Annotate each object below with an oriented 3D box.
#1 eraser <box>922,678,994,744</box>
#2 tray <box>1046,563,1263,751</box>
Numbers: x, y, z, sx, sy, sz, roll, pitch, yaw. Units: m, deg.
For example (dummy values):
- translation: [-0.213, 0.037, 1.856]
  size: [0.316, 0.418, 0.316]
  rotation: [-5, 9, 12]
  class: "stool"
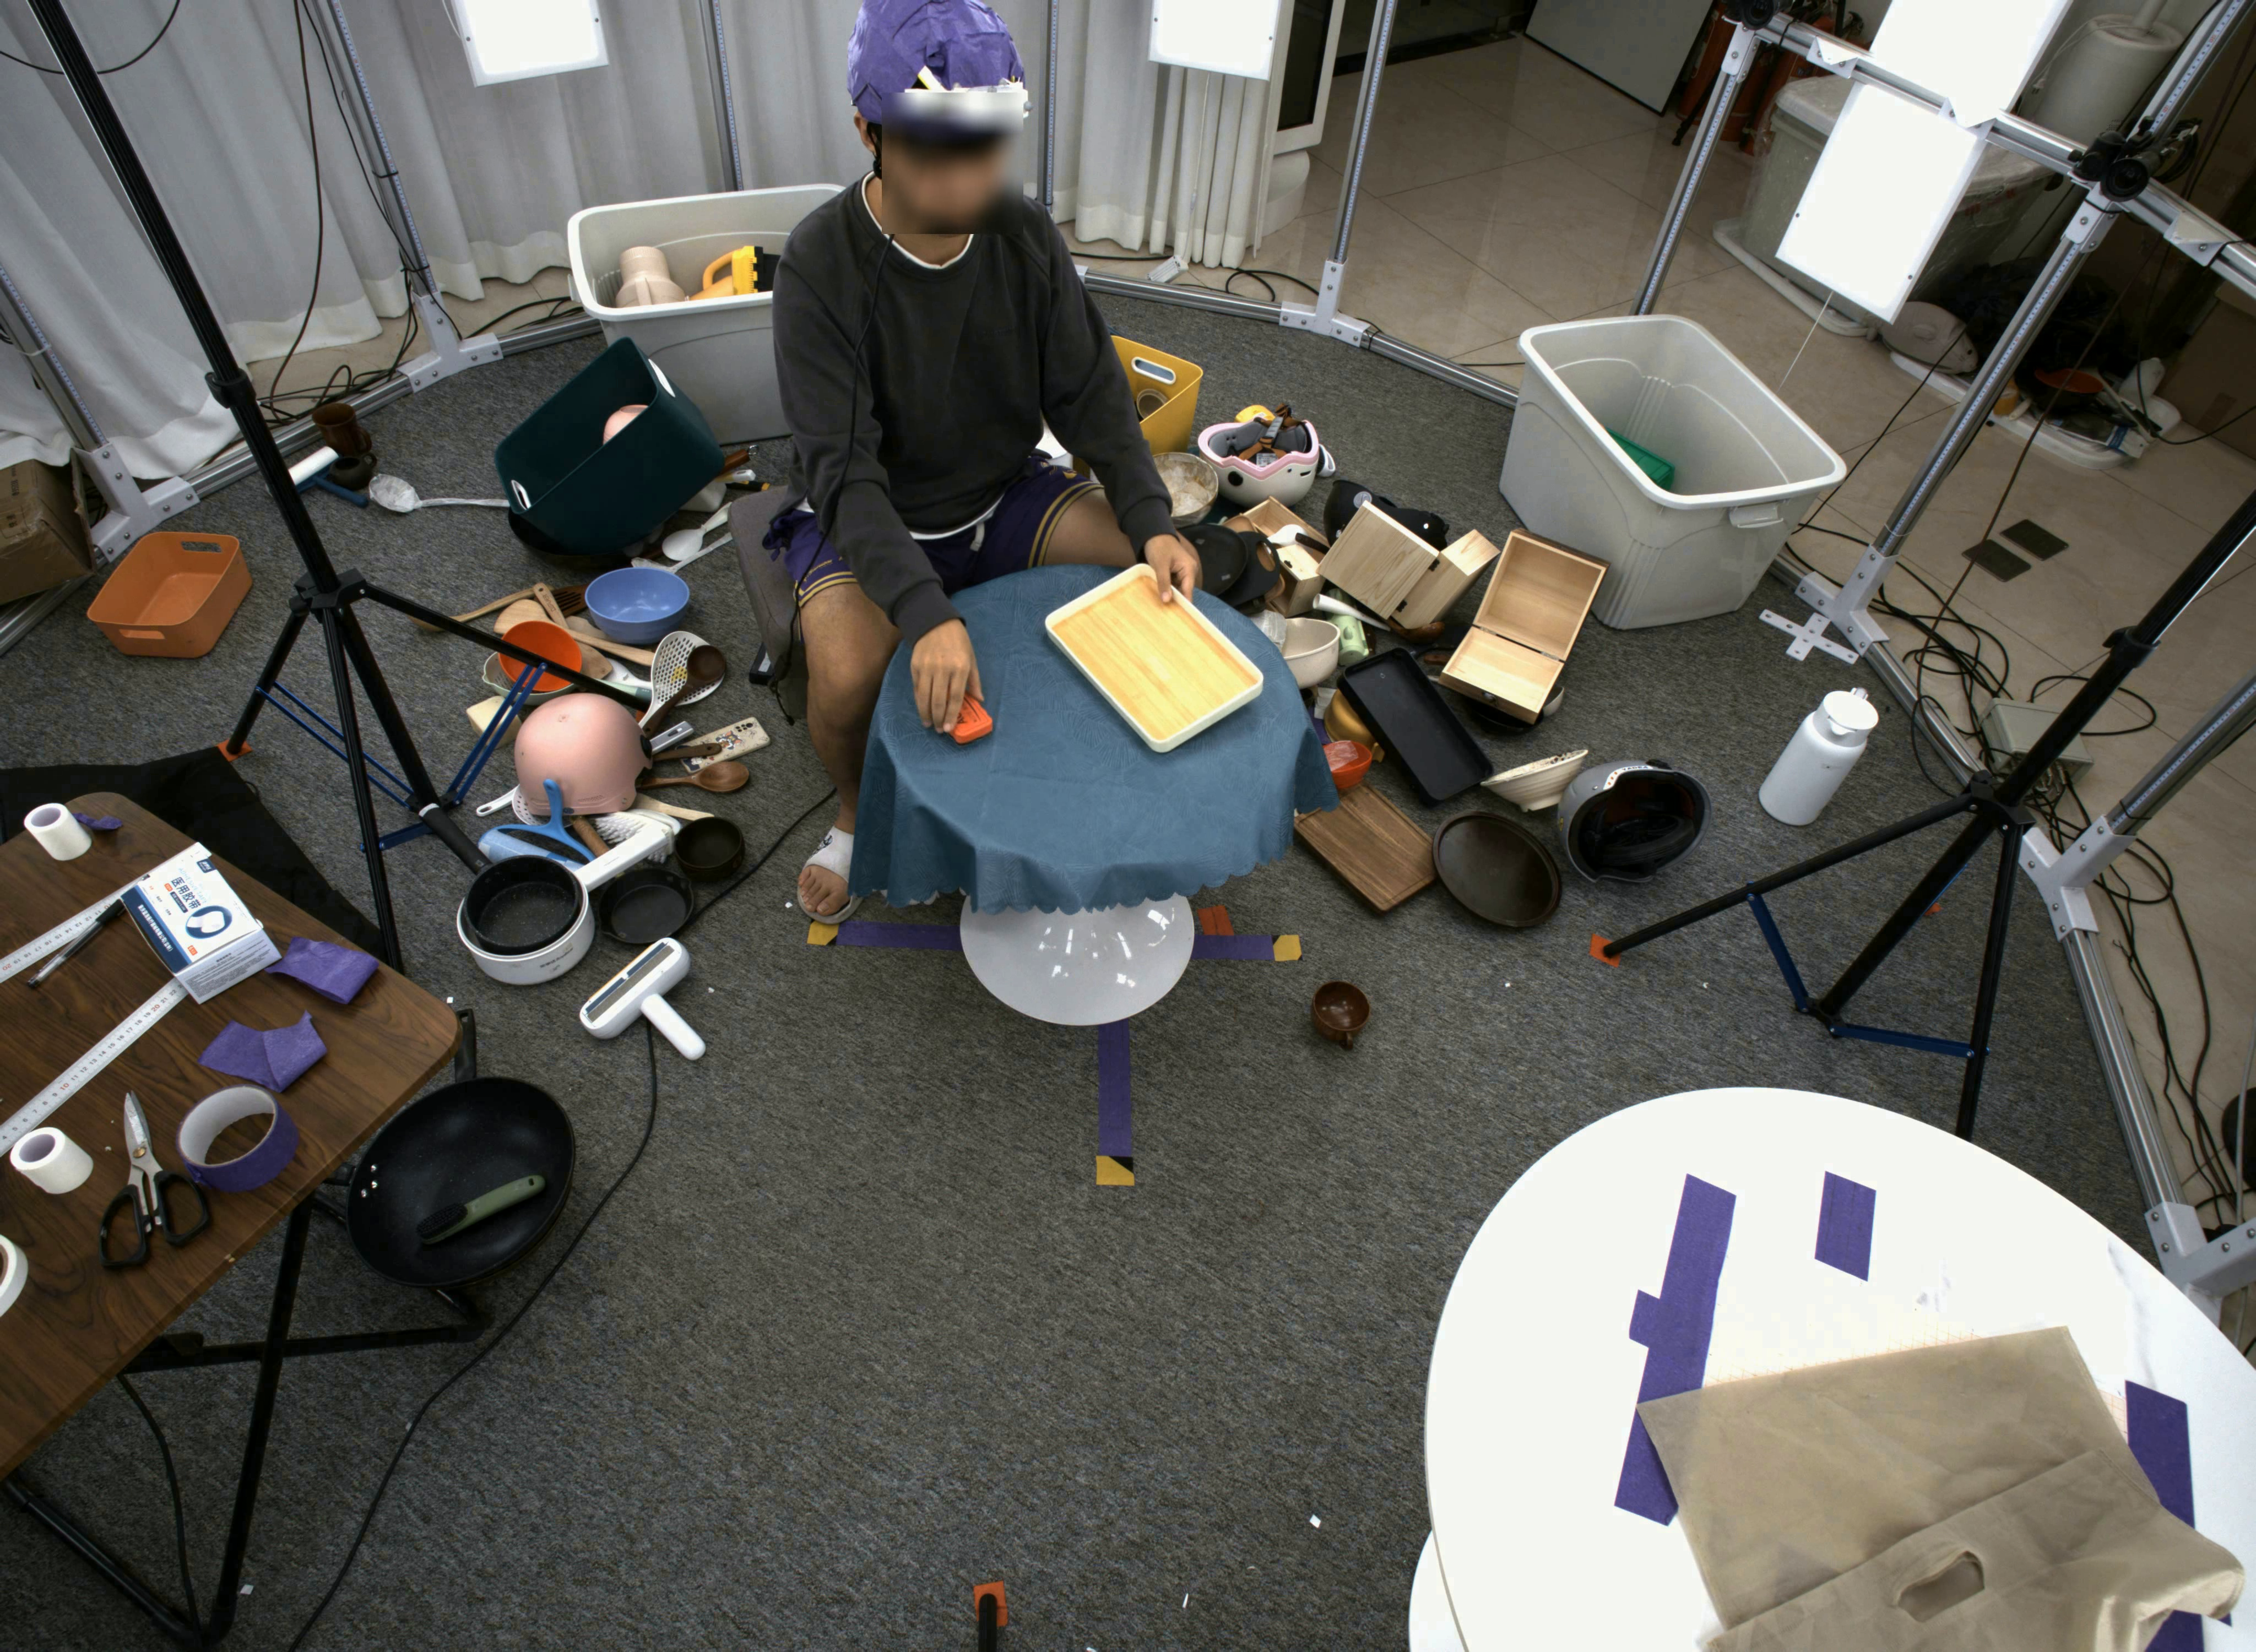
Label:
- translation: [-0.235, -0.160, 1.770]
  size: [0.059, 0.022, 0.110]
  rotation: [-22, 52, -29]
  class: "eraser"
- translation: [0.035, -0.248, 1.845]
  size: [0.192, 0.027, 0.306]
  rotation: [-32, 57, -14]
  class: "tray"
